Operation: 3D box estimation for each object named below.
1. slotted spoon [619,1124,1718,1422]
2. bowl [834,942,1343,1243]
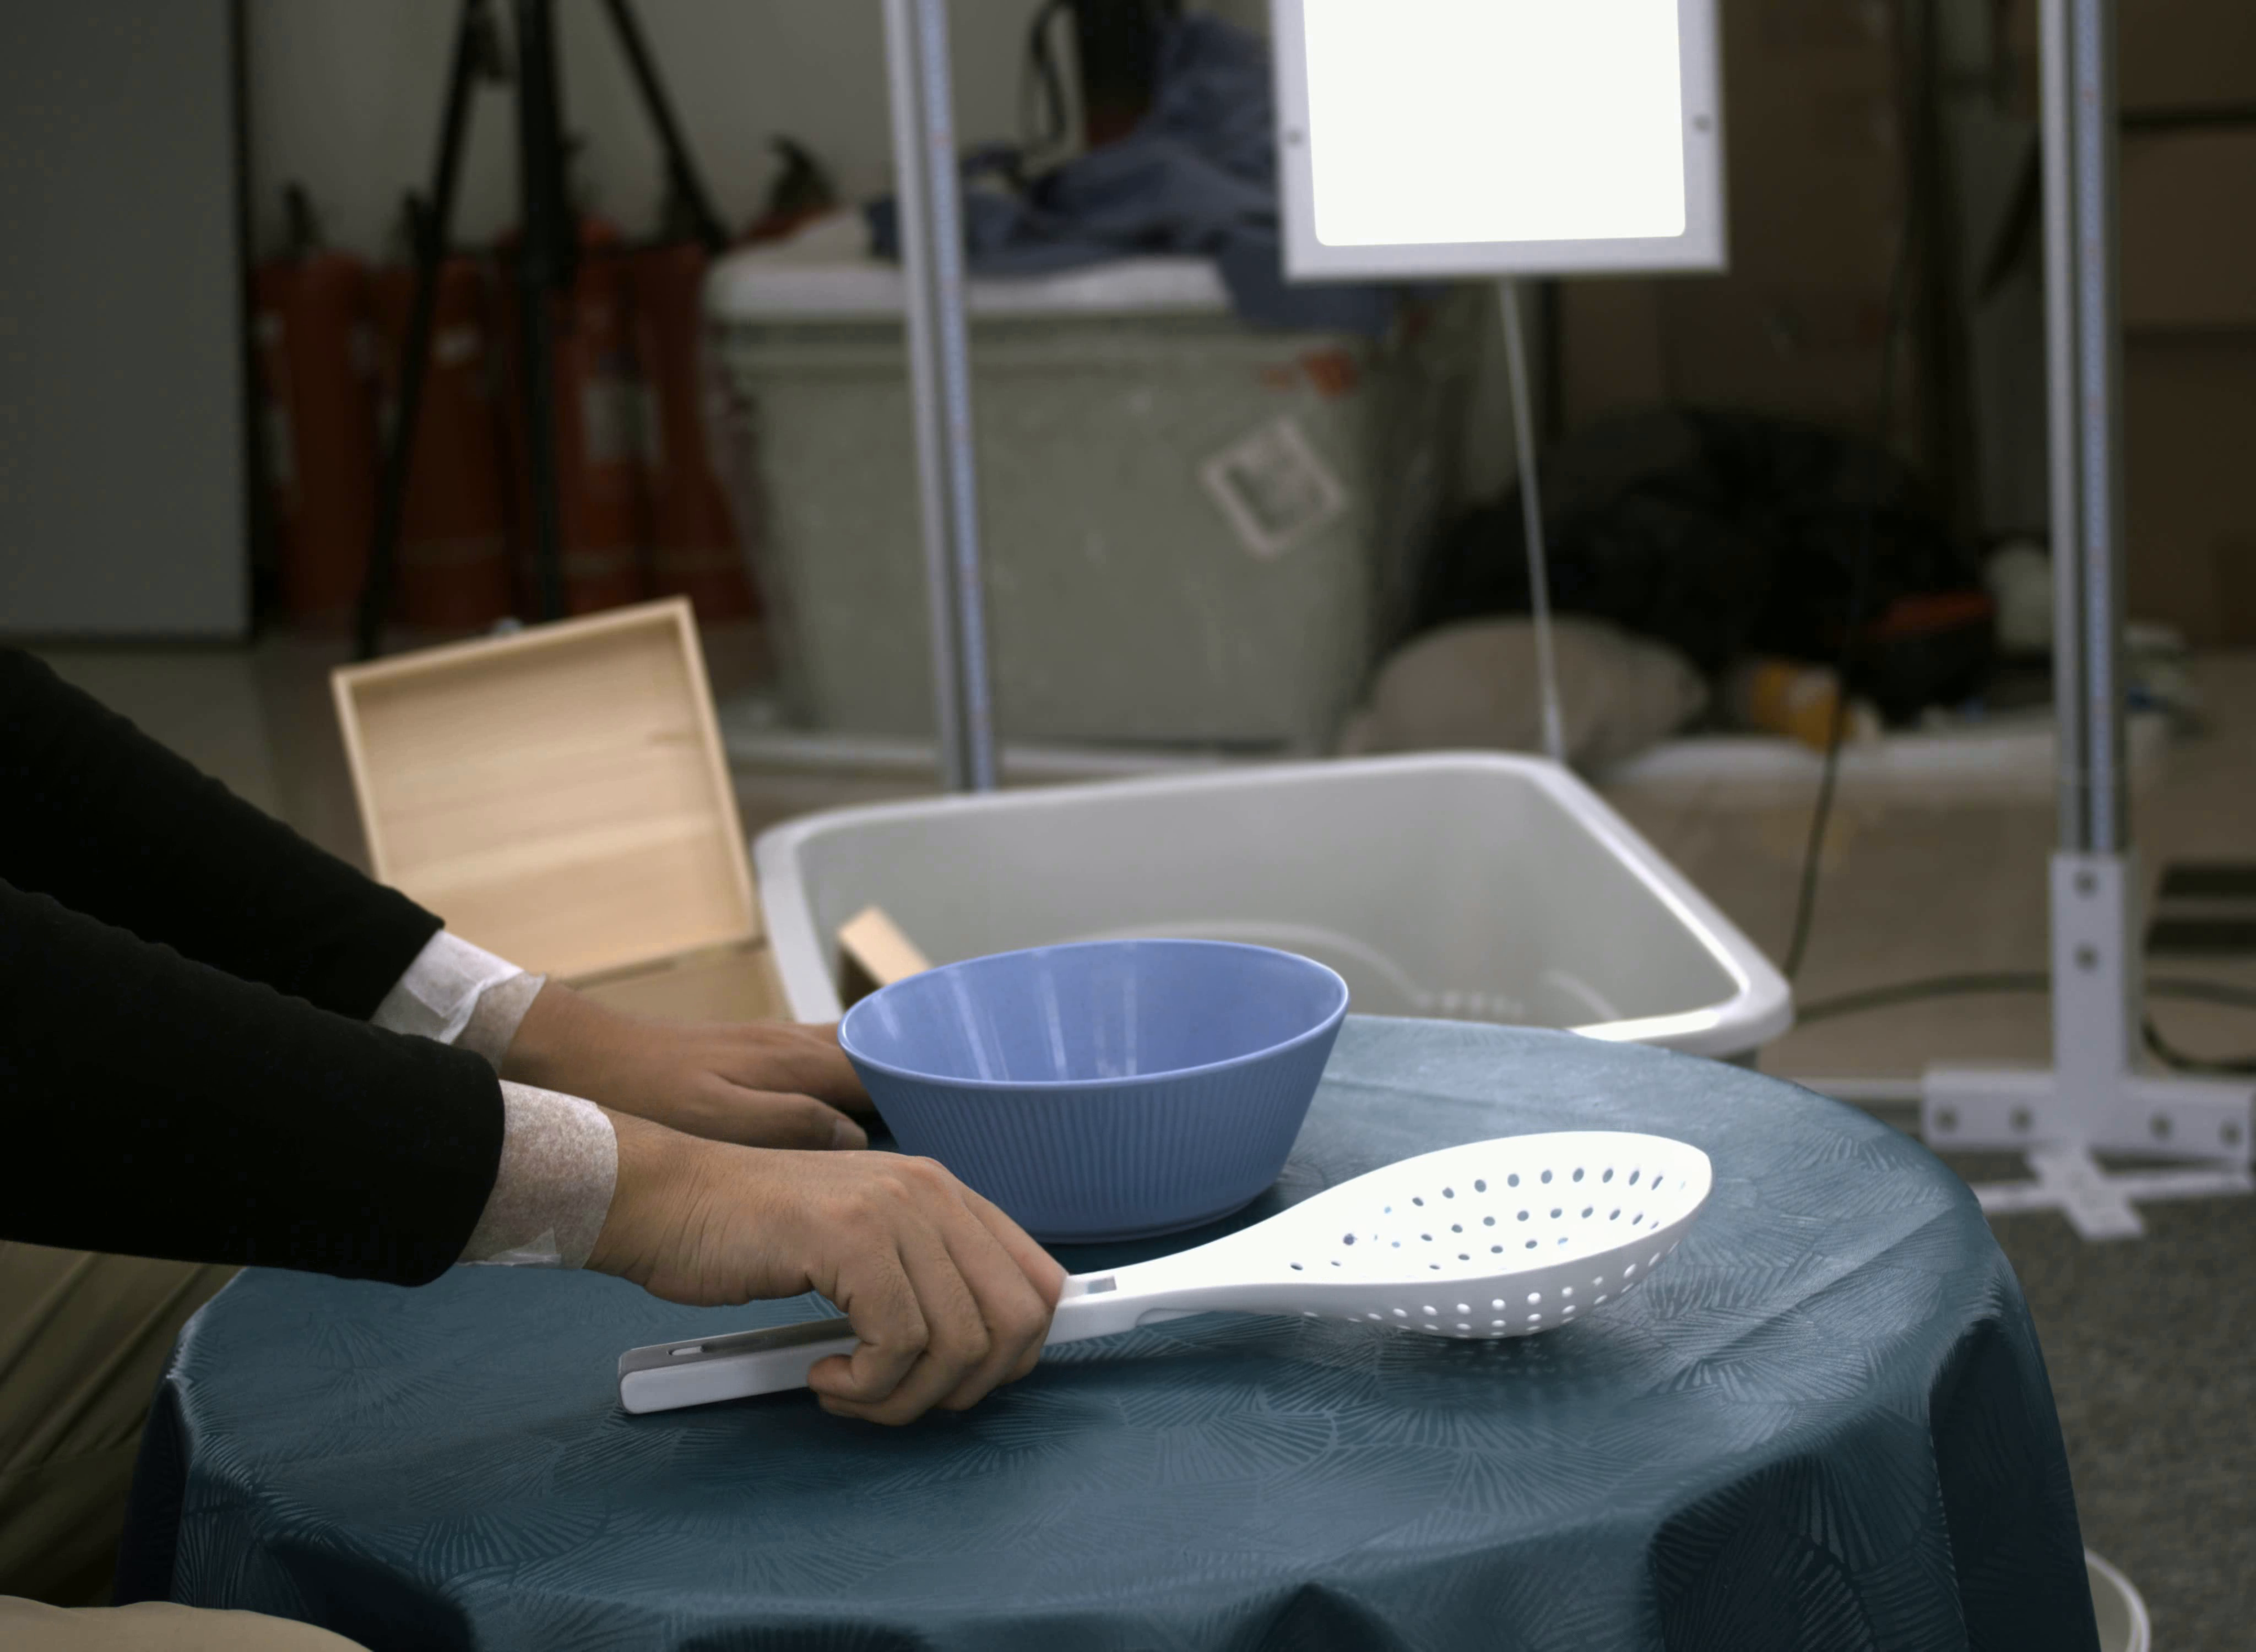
[{"bbox_3d":[0.013,0.145,1.723,0.348,0.046,0.136,-6,15,-1],"label":"slotted spoon"},{"bbox_3d":[-0.011,0.094,1.889,0.175,0.070,0.176,-6,14,0],"label":"bowl"}]
